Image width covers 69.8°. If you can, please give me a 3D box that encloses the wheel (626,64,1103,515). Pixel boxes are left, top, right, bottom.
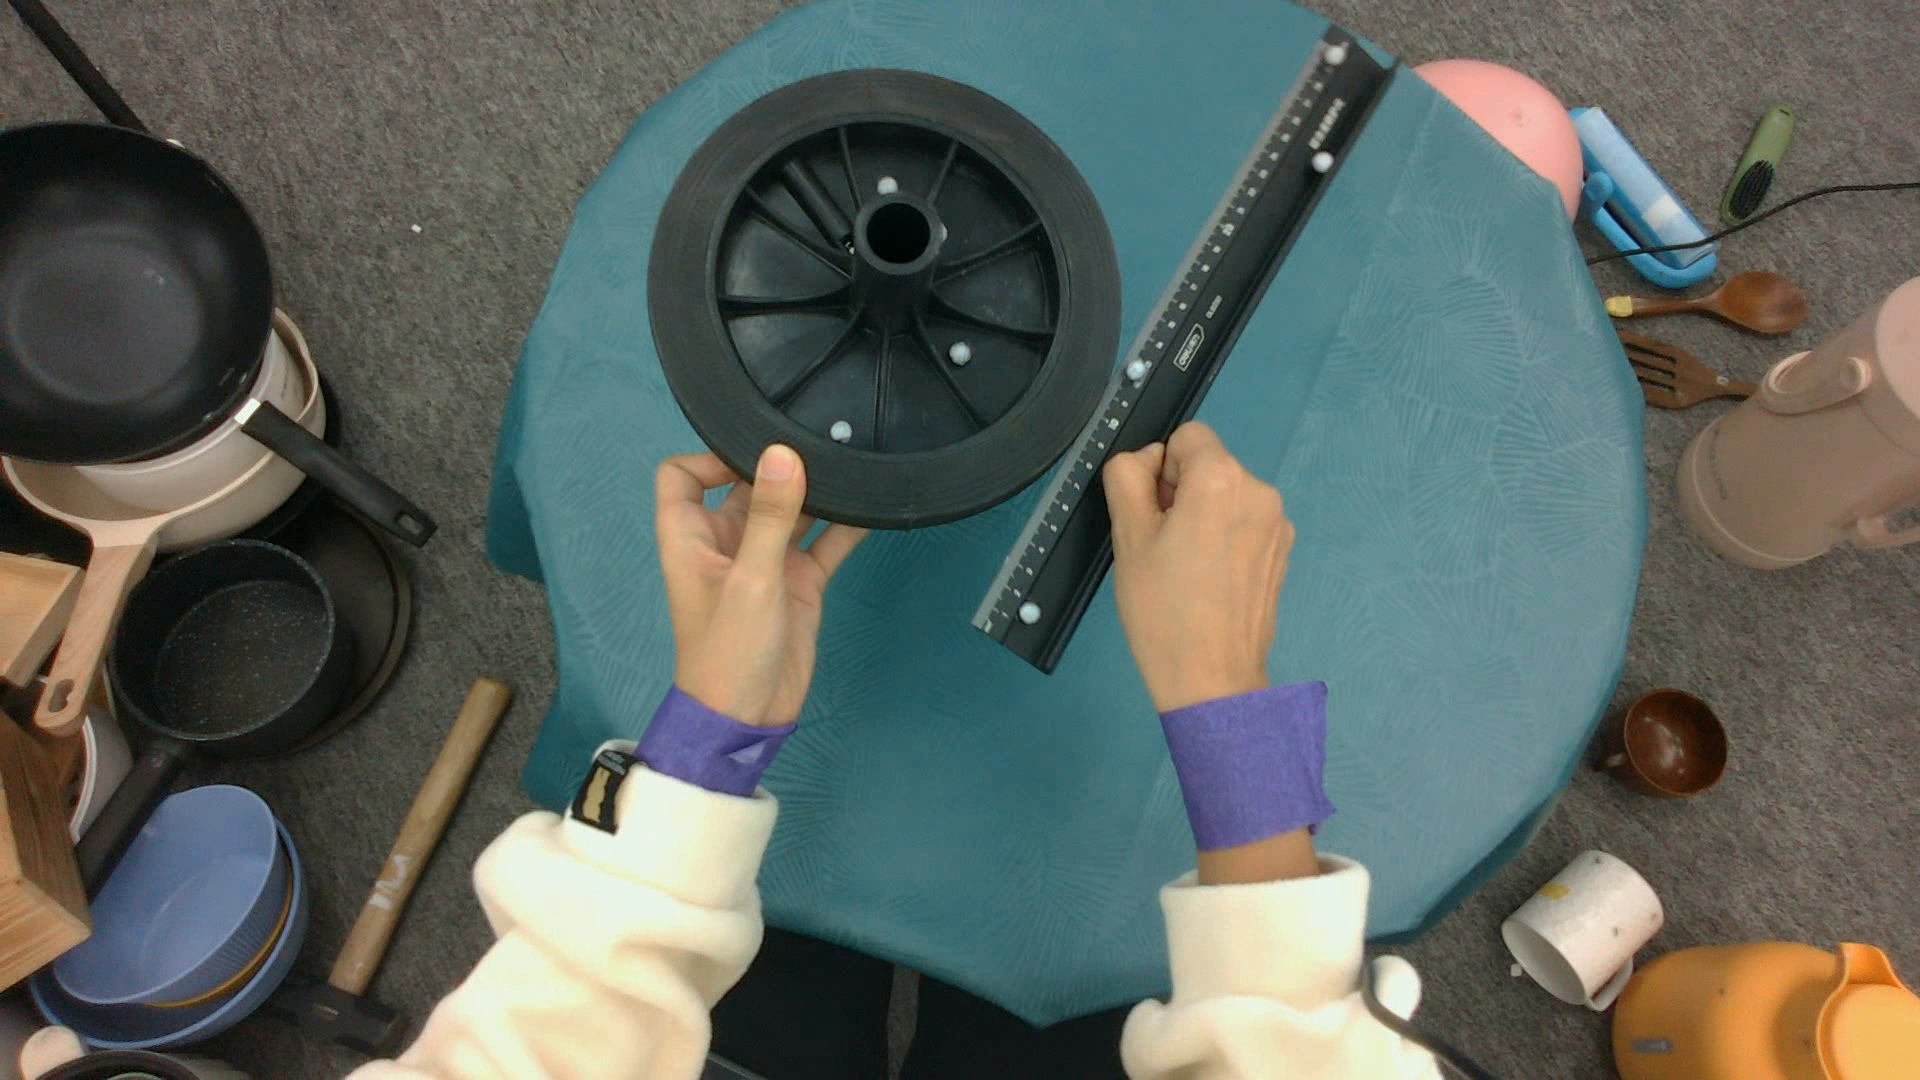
[{"bbox_3d":[-0.034,-0.107,0.532,0.190,0.079,0.188,31,77,0],"label":"wheel"}]

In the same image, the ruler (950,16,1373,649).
[{"bbox_3d":[0.090,-0.096,0.569,0.039,0.017,0.313,35,75,-12],"label":"ruler"}]
